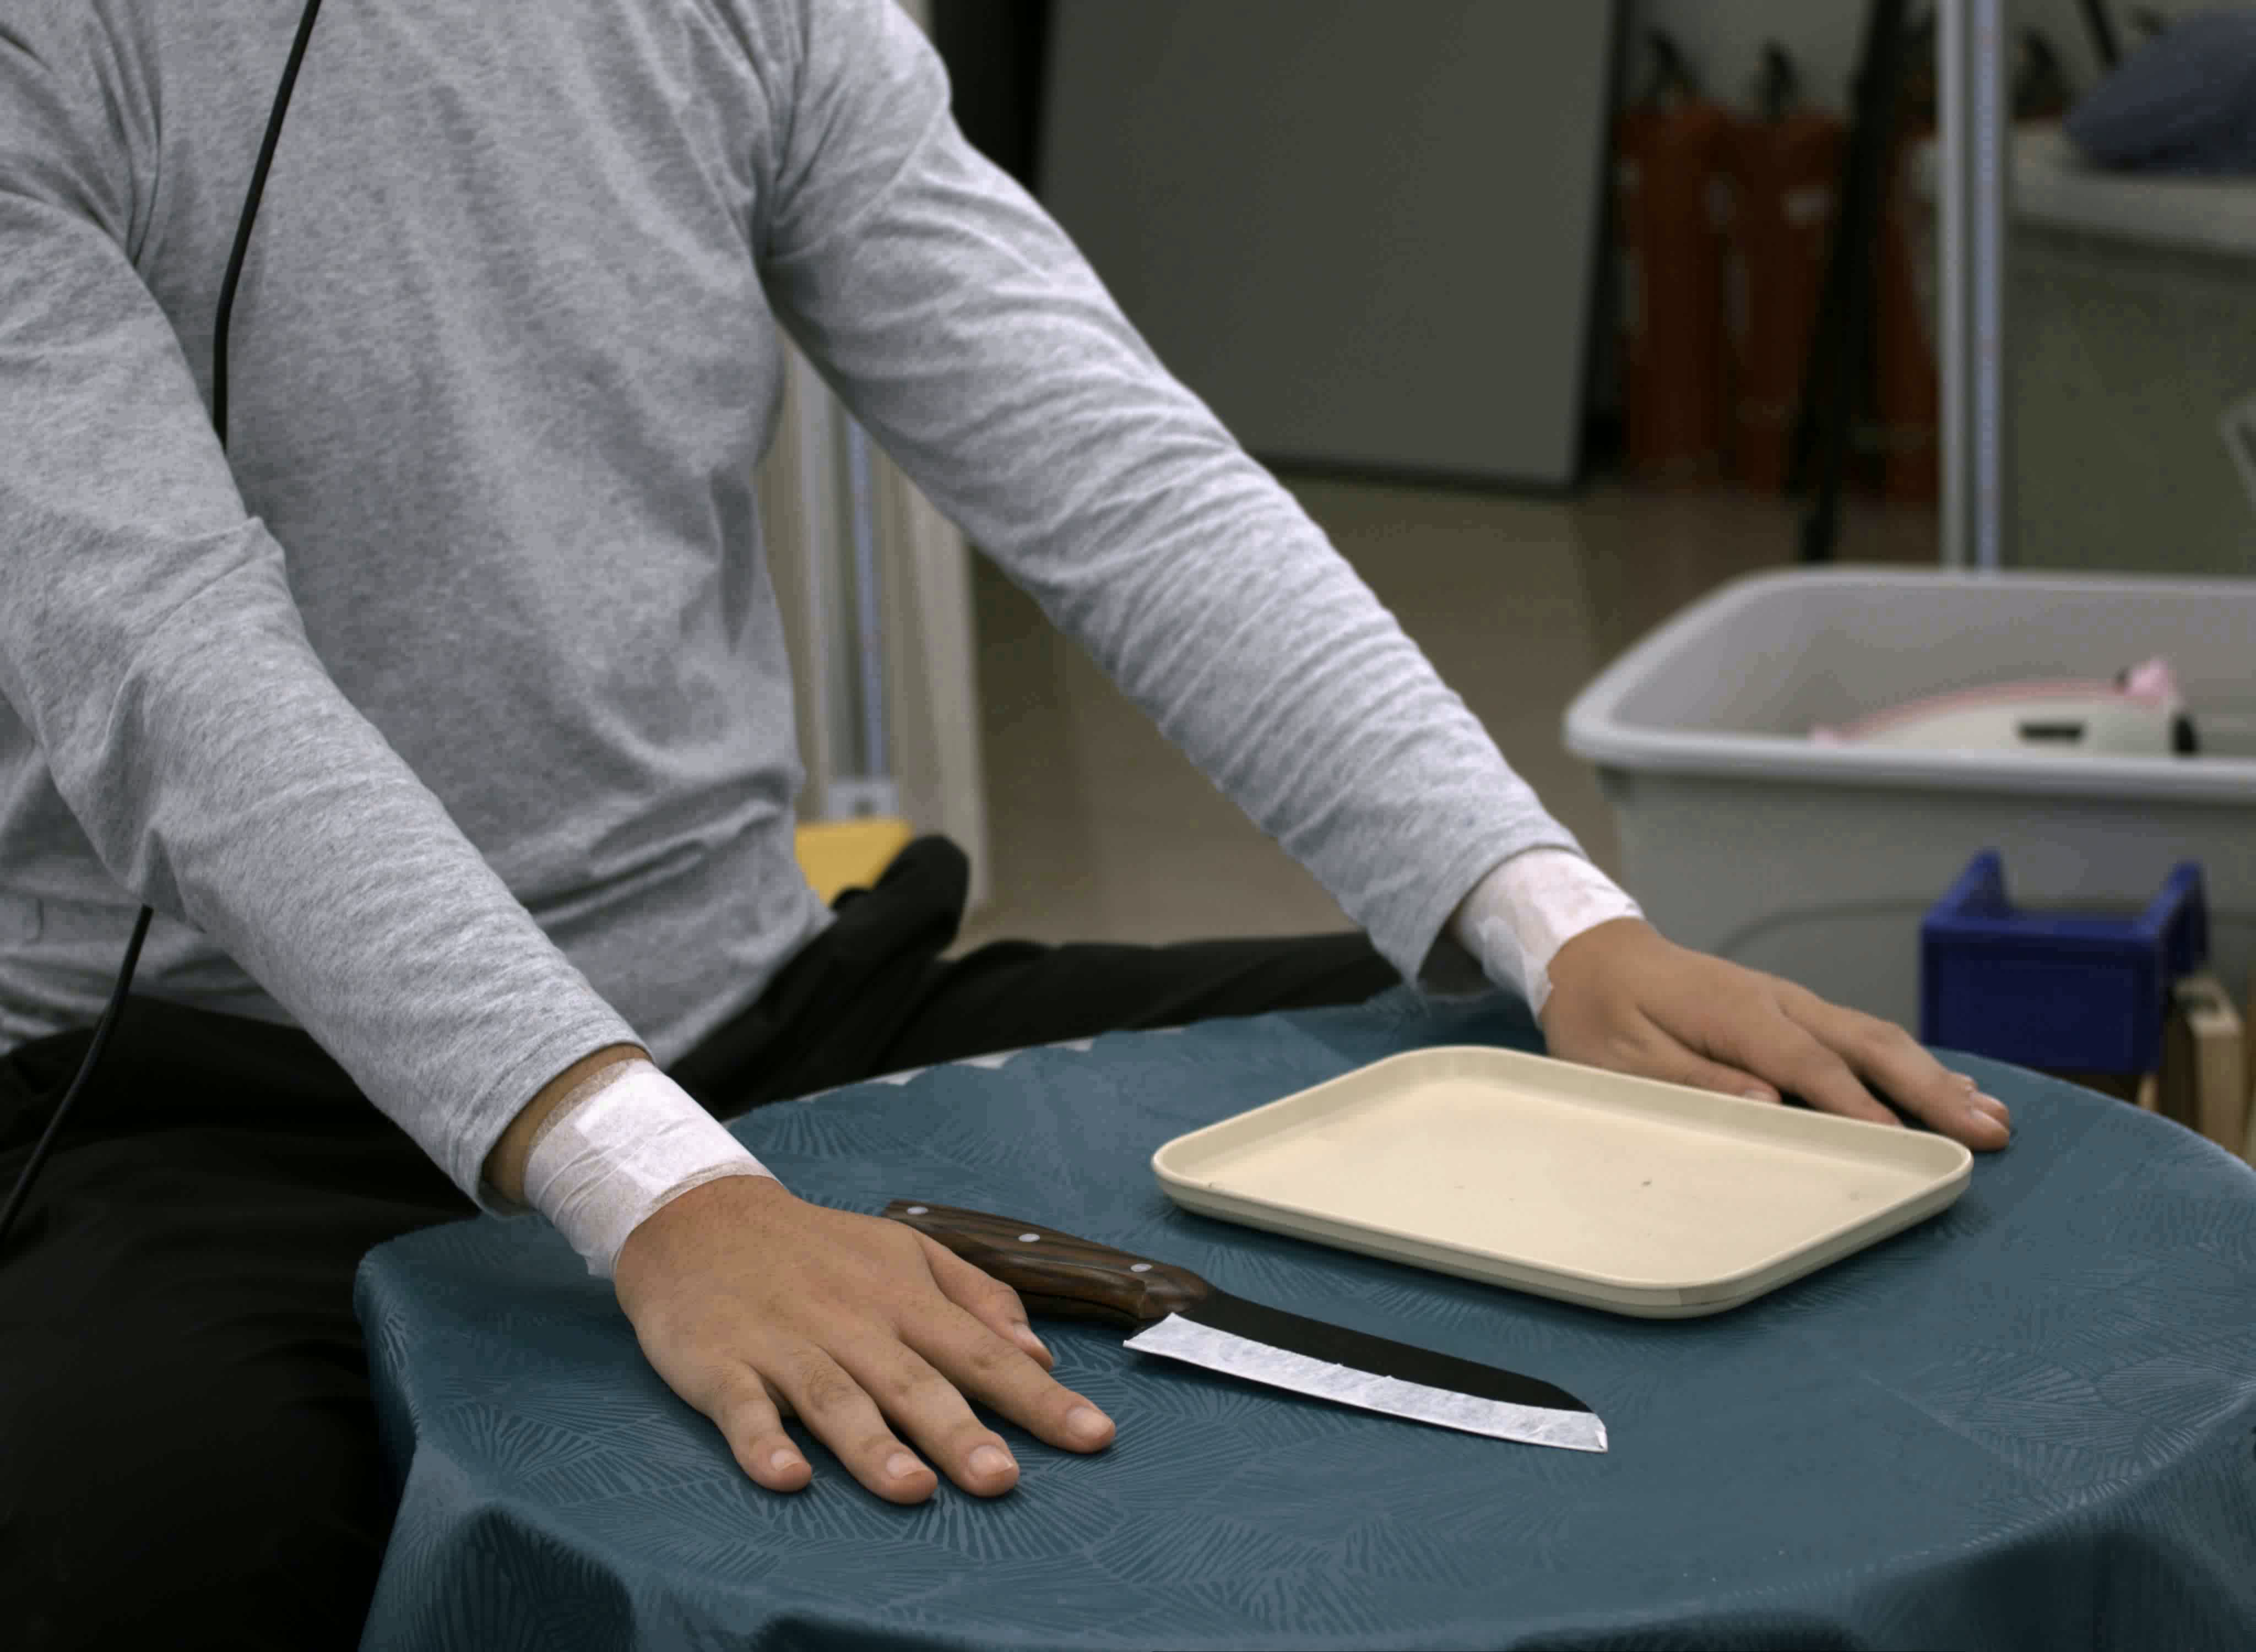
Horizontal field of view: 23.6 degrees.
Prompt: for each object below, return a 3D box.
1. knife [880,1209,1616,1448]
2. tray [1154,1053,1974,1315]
[{"bbox_3d":[0.031,0.152,1.609,0.291,0.020,0.049,11,25,42],"label":"knife"},{"bbox_3d":[0.138,0.114,1.727,0.242,0.017,0.168,9,18,44],"label":"tray"}]
